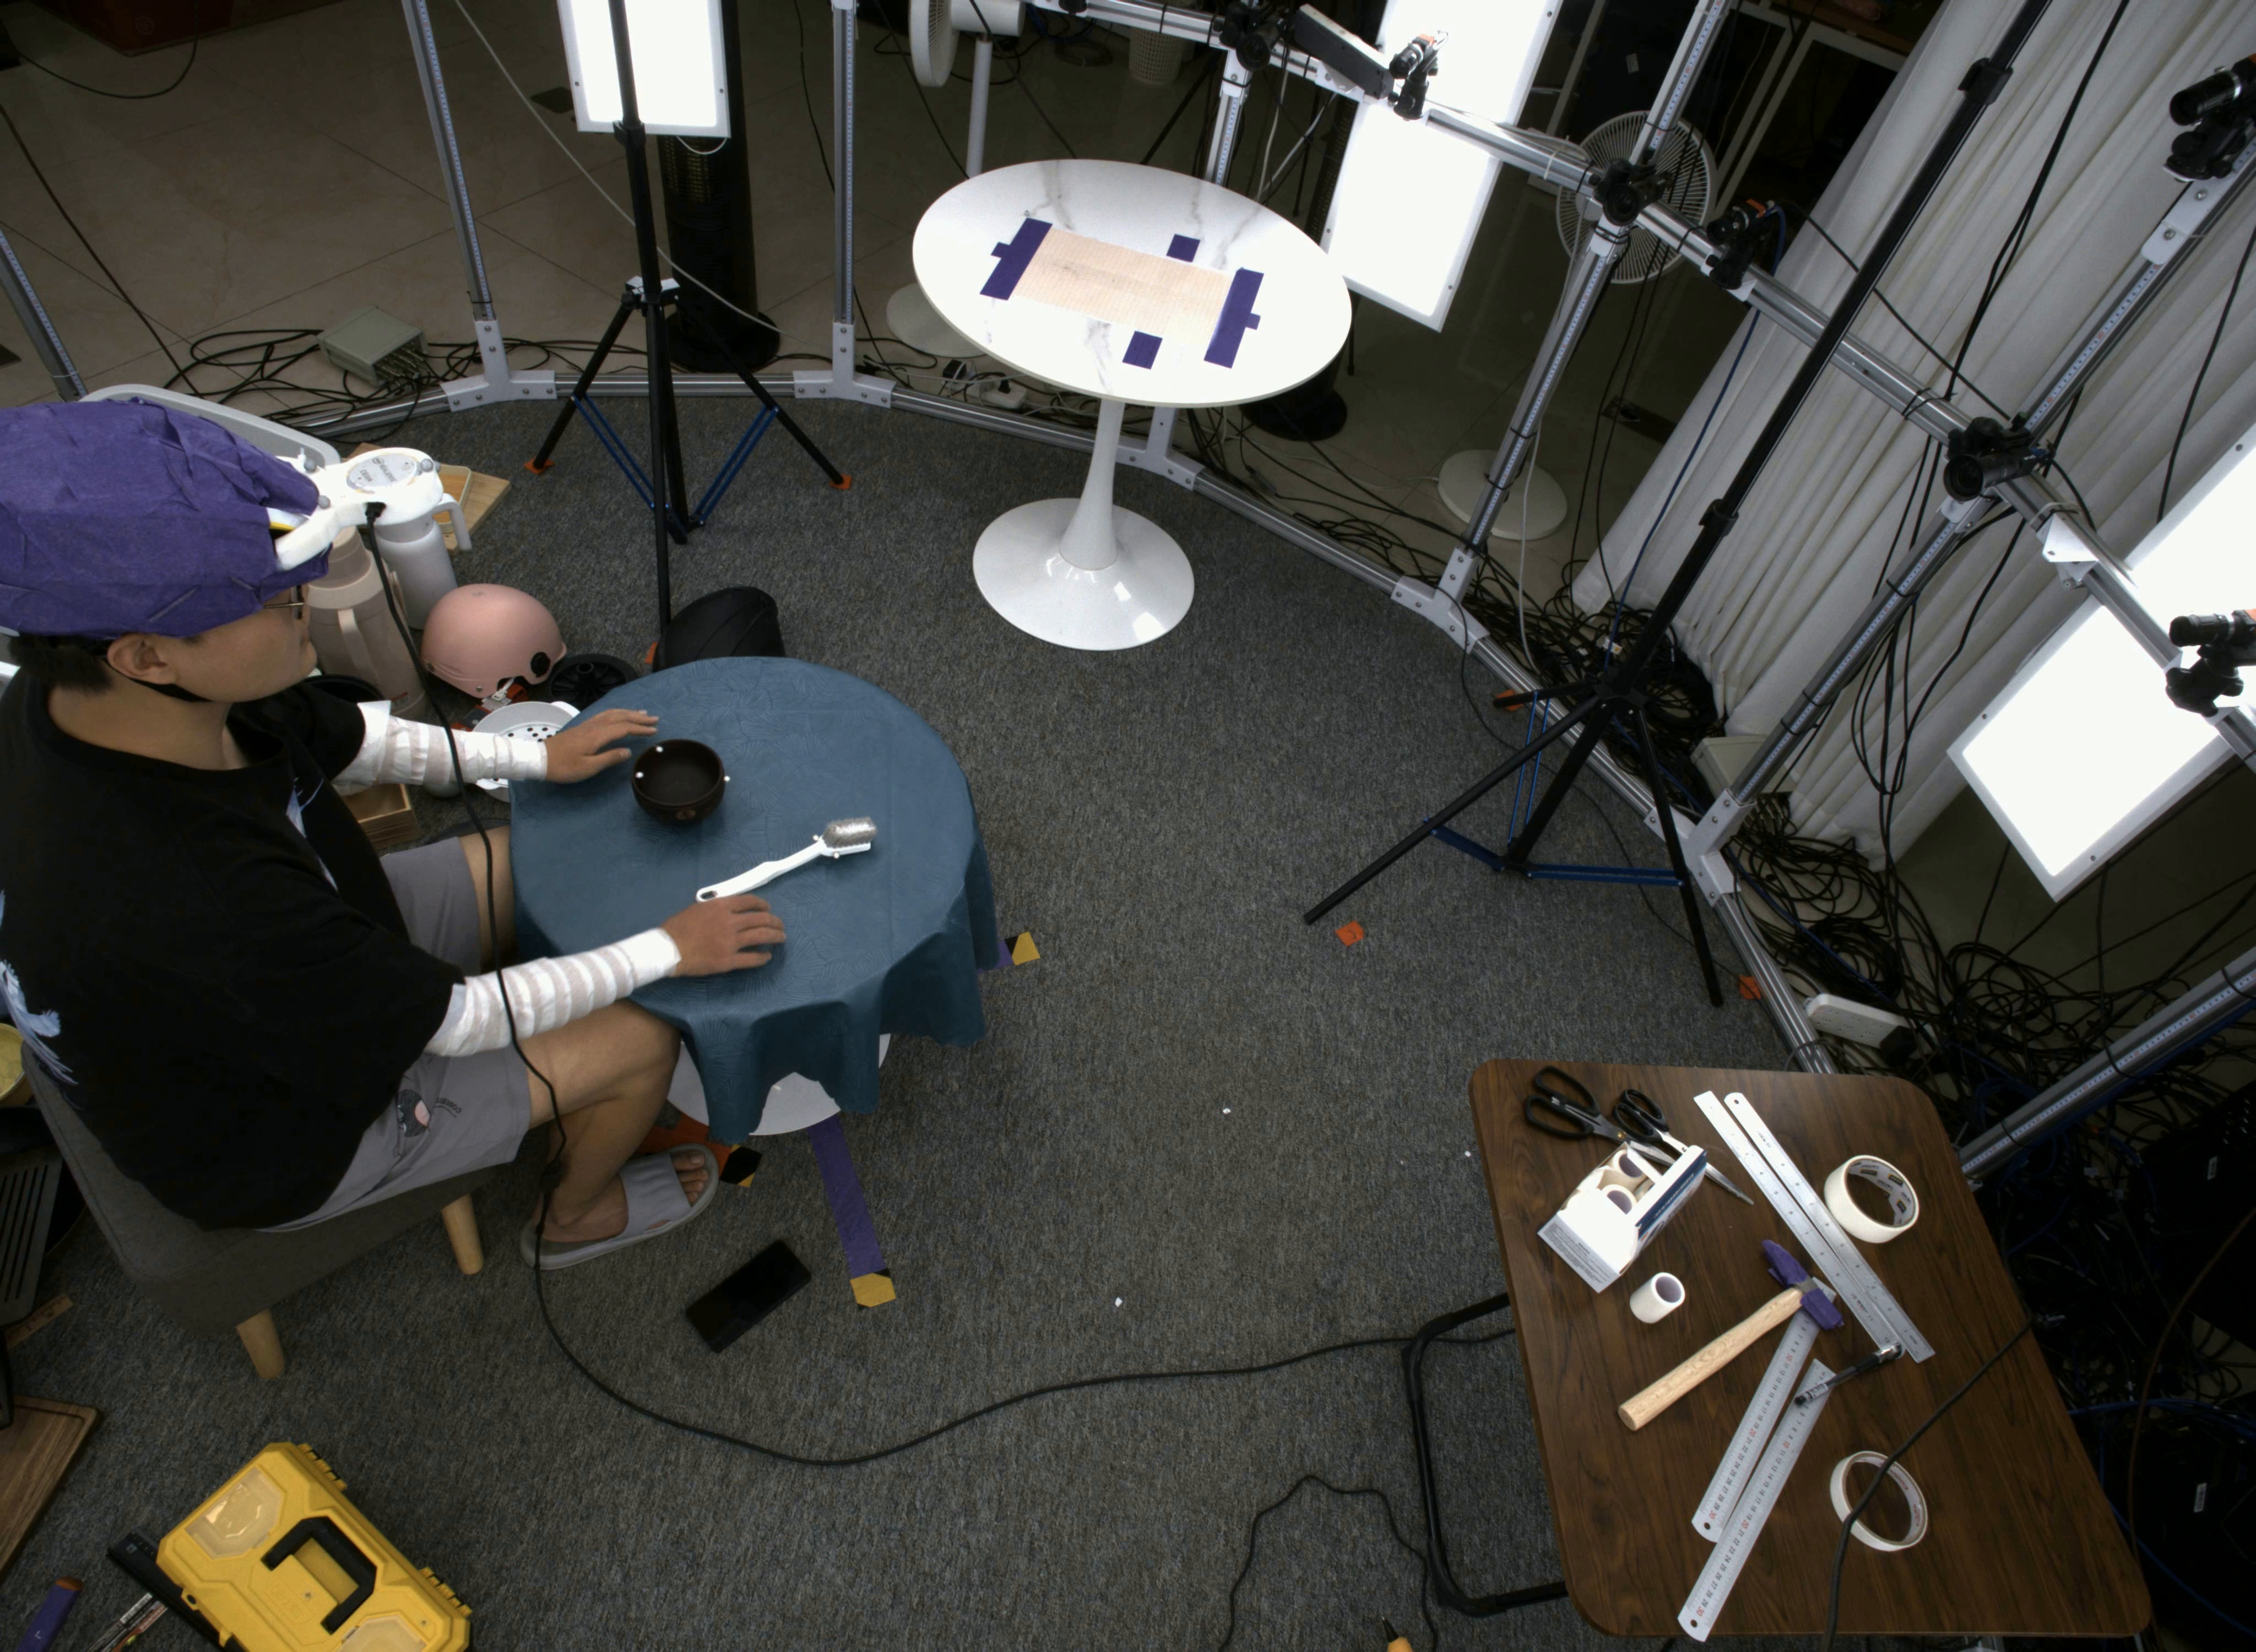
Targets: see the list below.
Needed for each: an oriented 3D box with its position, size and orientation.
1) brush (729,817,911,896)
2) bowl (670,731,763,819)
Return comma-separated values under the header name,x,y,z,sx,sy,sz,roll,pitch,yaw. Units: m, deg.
name,x,y,z,sx,sy,sz,roll,pitch,yaw
brush,-0.399,0.035,1.681,0.245,0.051,0.033,-17,57,-25
bowl,-0.541,-0.059,1.702,0.117,0.071,0.116,6,54,-7
